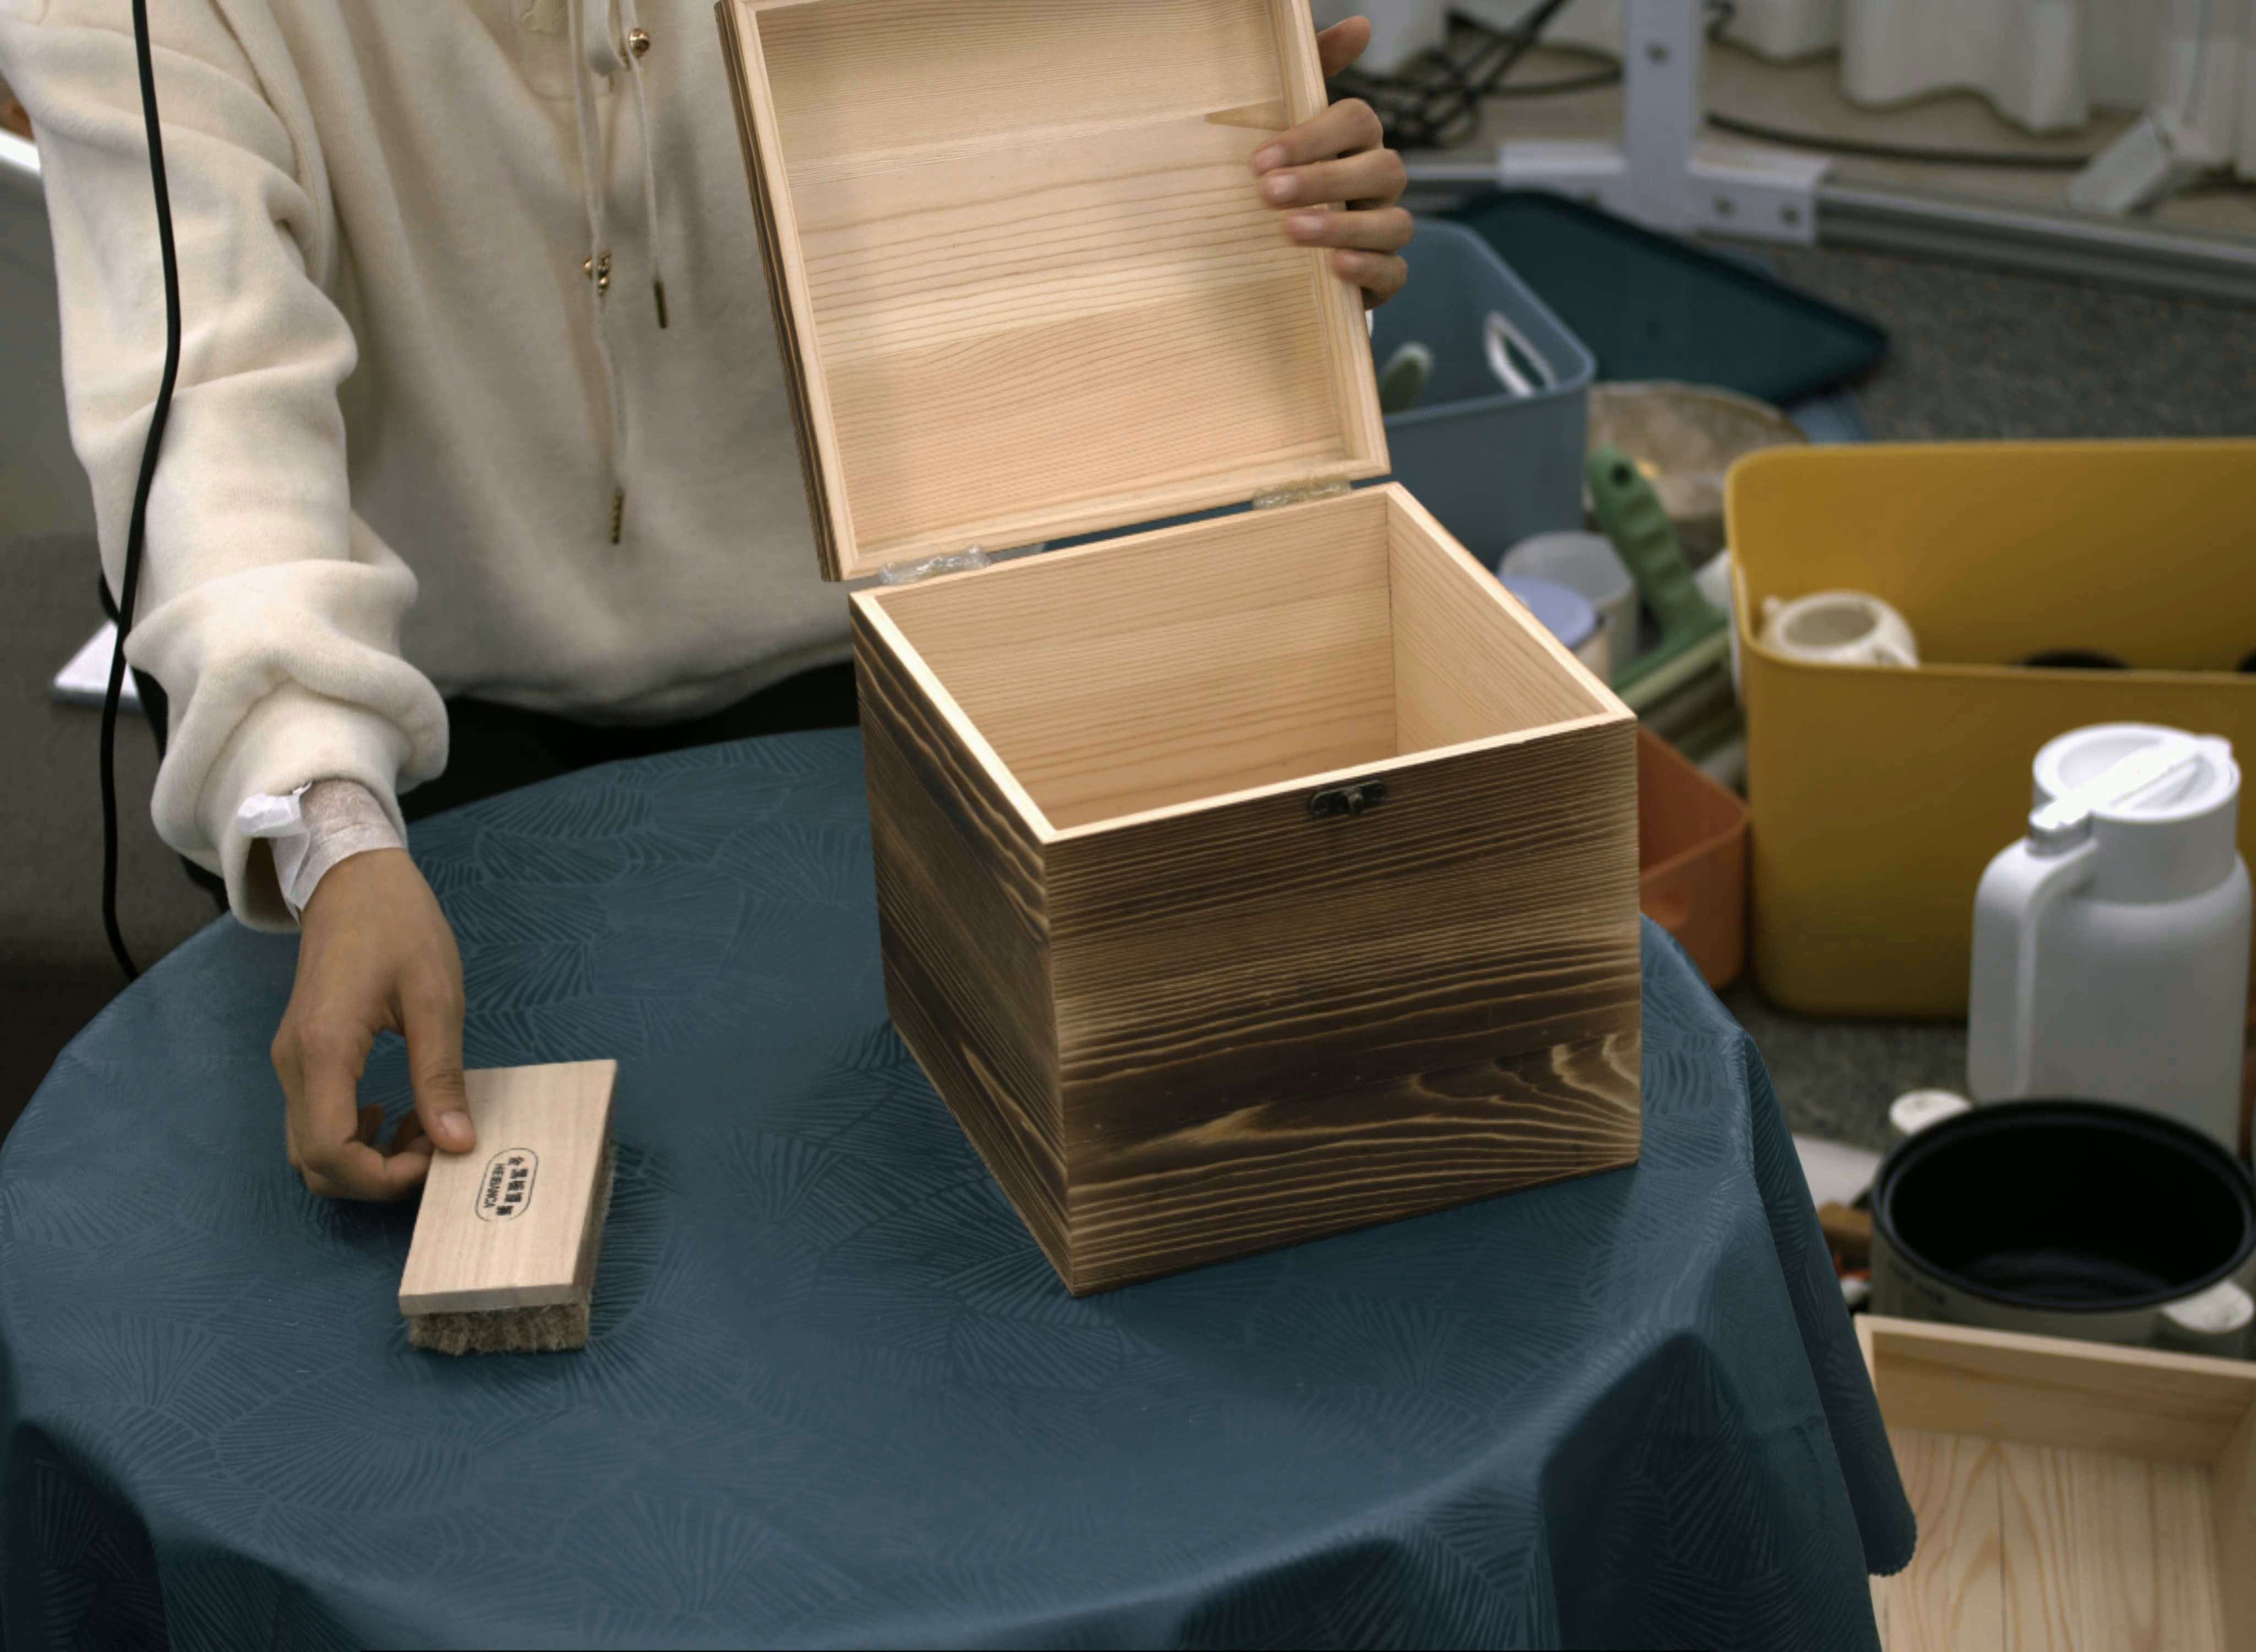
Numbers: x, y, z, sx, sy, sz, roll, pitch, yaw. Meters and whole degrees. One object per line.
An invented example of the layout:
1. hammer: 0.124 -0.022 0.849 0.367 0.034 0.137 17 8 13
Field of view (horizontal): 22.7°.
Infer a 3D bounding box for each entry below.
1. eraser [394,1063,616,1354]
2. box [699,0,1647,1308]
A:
1. eraser: -0.202 0.126 1.843 0.057 0.029 0.141 -5 26 4
2. box: 0.013 -0.091 1.880 0.209 0.371 0.325 -13 28 -16
